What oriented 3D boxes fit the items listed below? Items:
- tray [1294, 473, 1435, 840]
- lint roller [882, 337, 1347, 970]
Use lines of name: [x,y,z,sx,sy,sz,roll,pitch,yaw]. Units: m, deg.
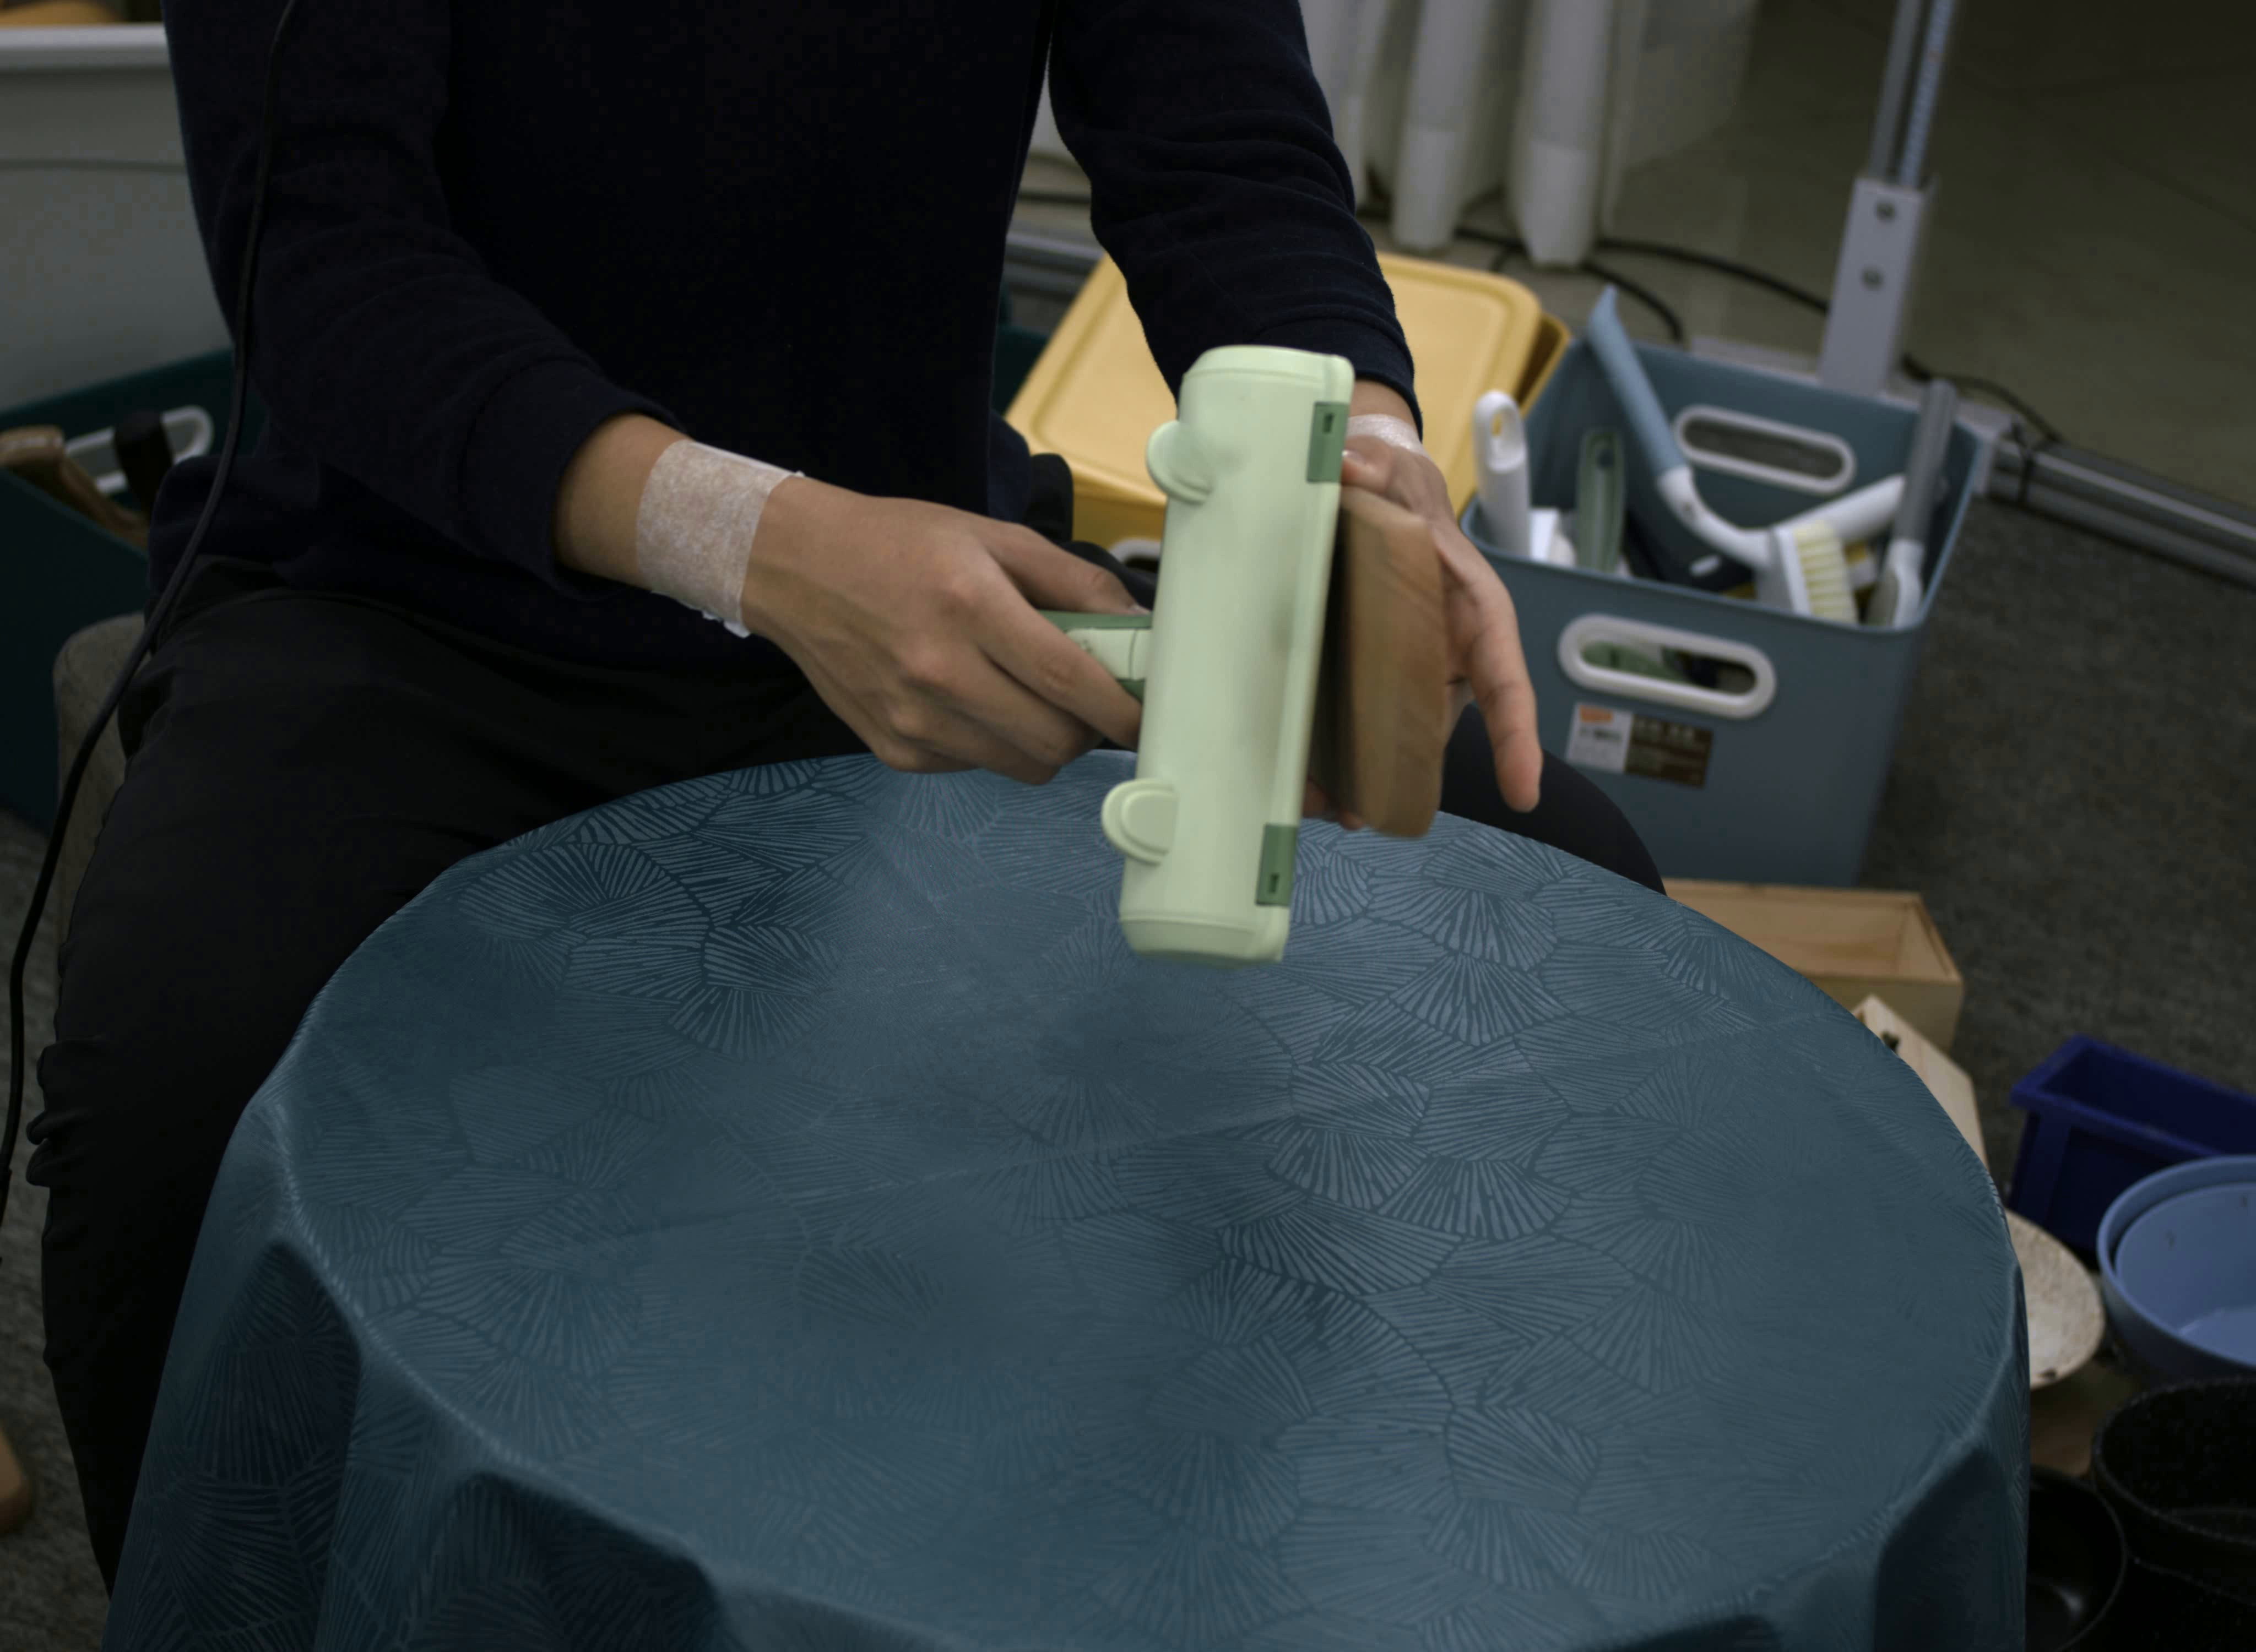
tray: [0.071,-0.056,1.695,0.020,0.102,0.232,1,8,-8]
lint roller: [-0.018,-0.057,1.704,0.184,0.199,0.081,2,-9,32]
